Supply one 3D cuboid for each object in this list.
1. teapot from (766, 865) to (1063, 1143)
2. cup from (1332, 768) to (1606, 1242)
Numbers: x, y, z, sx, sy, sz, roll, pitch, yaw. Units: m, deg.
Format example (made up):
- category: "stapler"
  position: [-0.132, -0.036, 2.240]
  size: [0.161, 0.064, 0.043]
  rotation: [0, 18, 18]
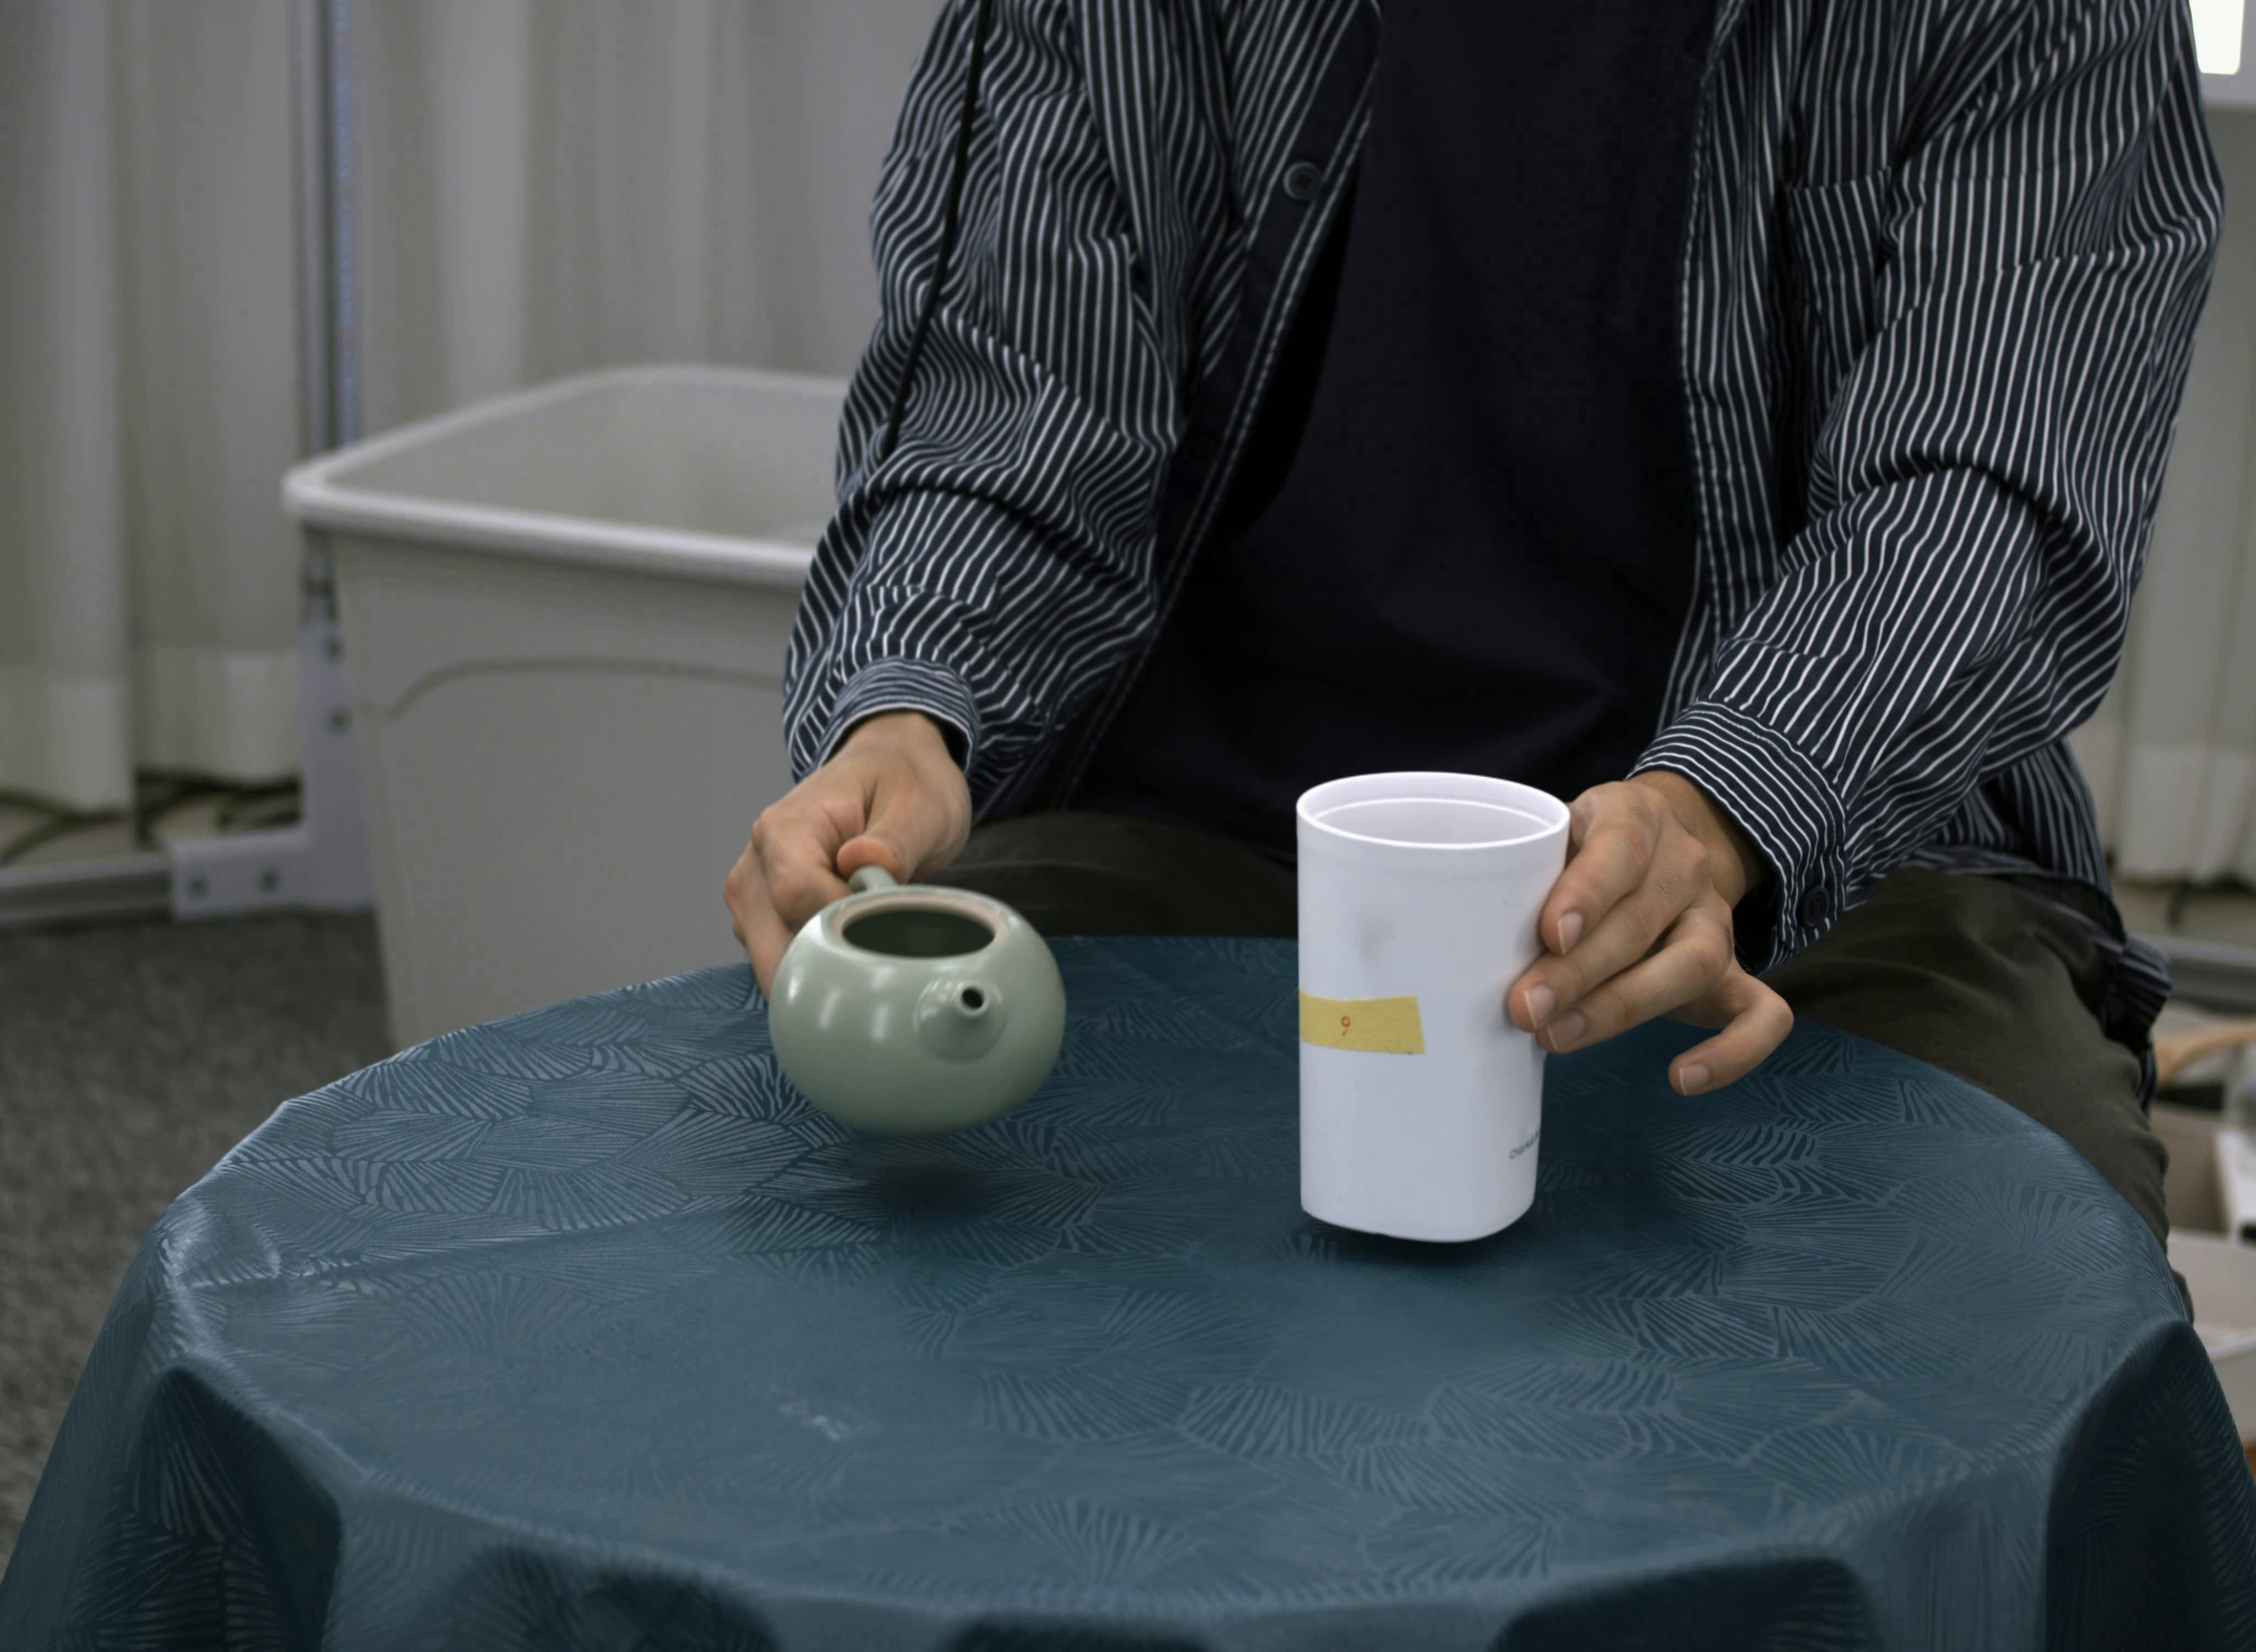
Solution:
- category: "teapot"
  position: [-0.068, 0.055, 1.621]
  size: [0.091, 0.061, 0.127]
  rotation: [-6, 24, -14]
- category: "cup"
  position: [0.099, 0.054, 1.568]
  size: [0.081, 0.126, 0.081]
  rotation: [1, 17, 0]
